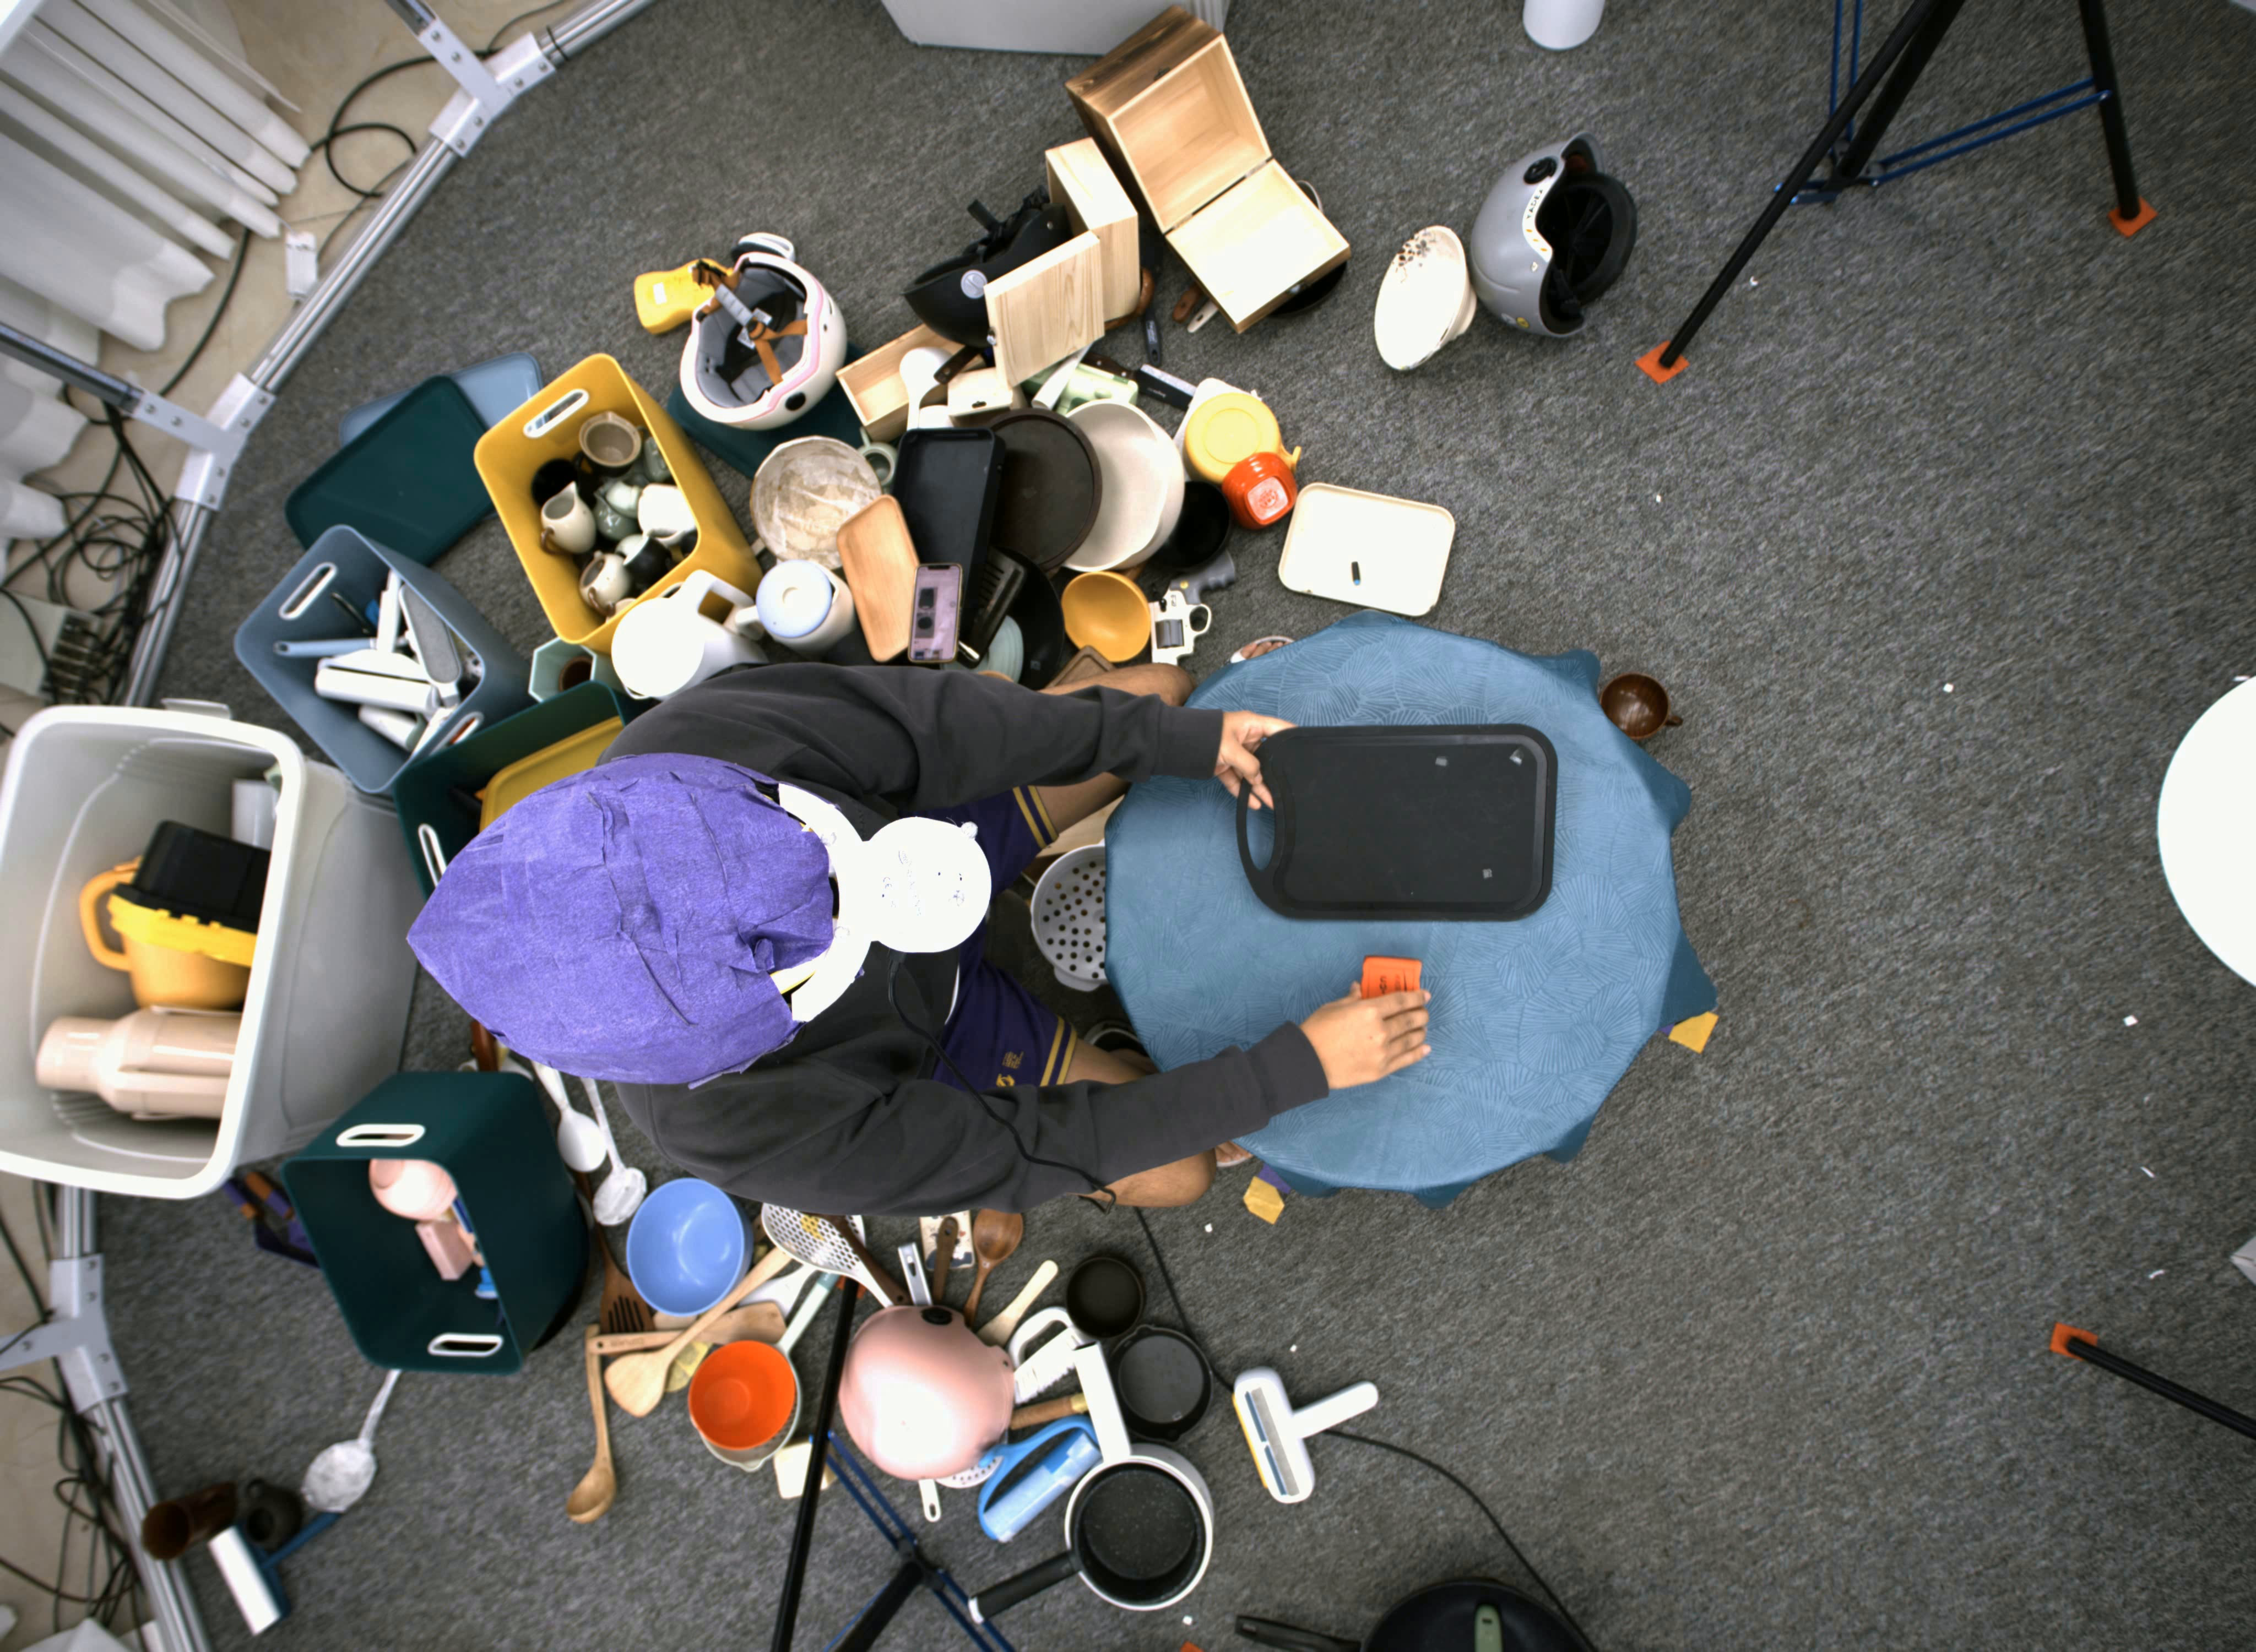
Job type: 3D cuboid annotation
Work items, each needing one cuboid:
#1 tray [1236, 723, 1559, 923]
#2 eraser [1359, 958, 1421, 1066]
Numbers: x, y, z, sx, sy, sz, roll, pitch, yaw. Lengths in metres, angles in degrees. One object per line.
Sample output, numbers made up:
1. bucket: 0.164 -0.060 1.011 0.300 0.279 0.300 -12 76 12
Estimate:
1. tray: 0.274 -0.003 1.417 0.326 0.009 0.214 1 108 8
2. eraser: 0.267 0.188 1.408 0.059 0.022 0.109 3 105 10
